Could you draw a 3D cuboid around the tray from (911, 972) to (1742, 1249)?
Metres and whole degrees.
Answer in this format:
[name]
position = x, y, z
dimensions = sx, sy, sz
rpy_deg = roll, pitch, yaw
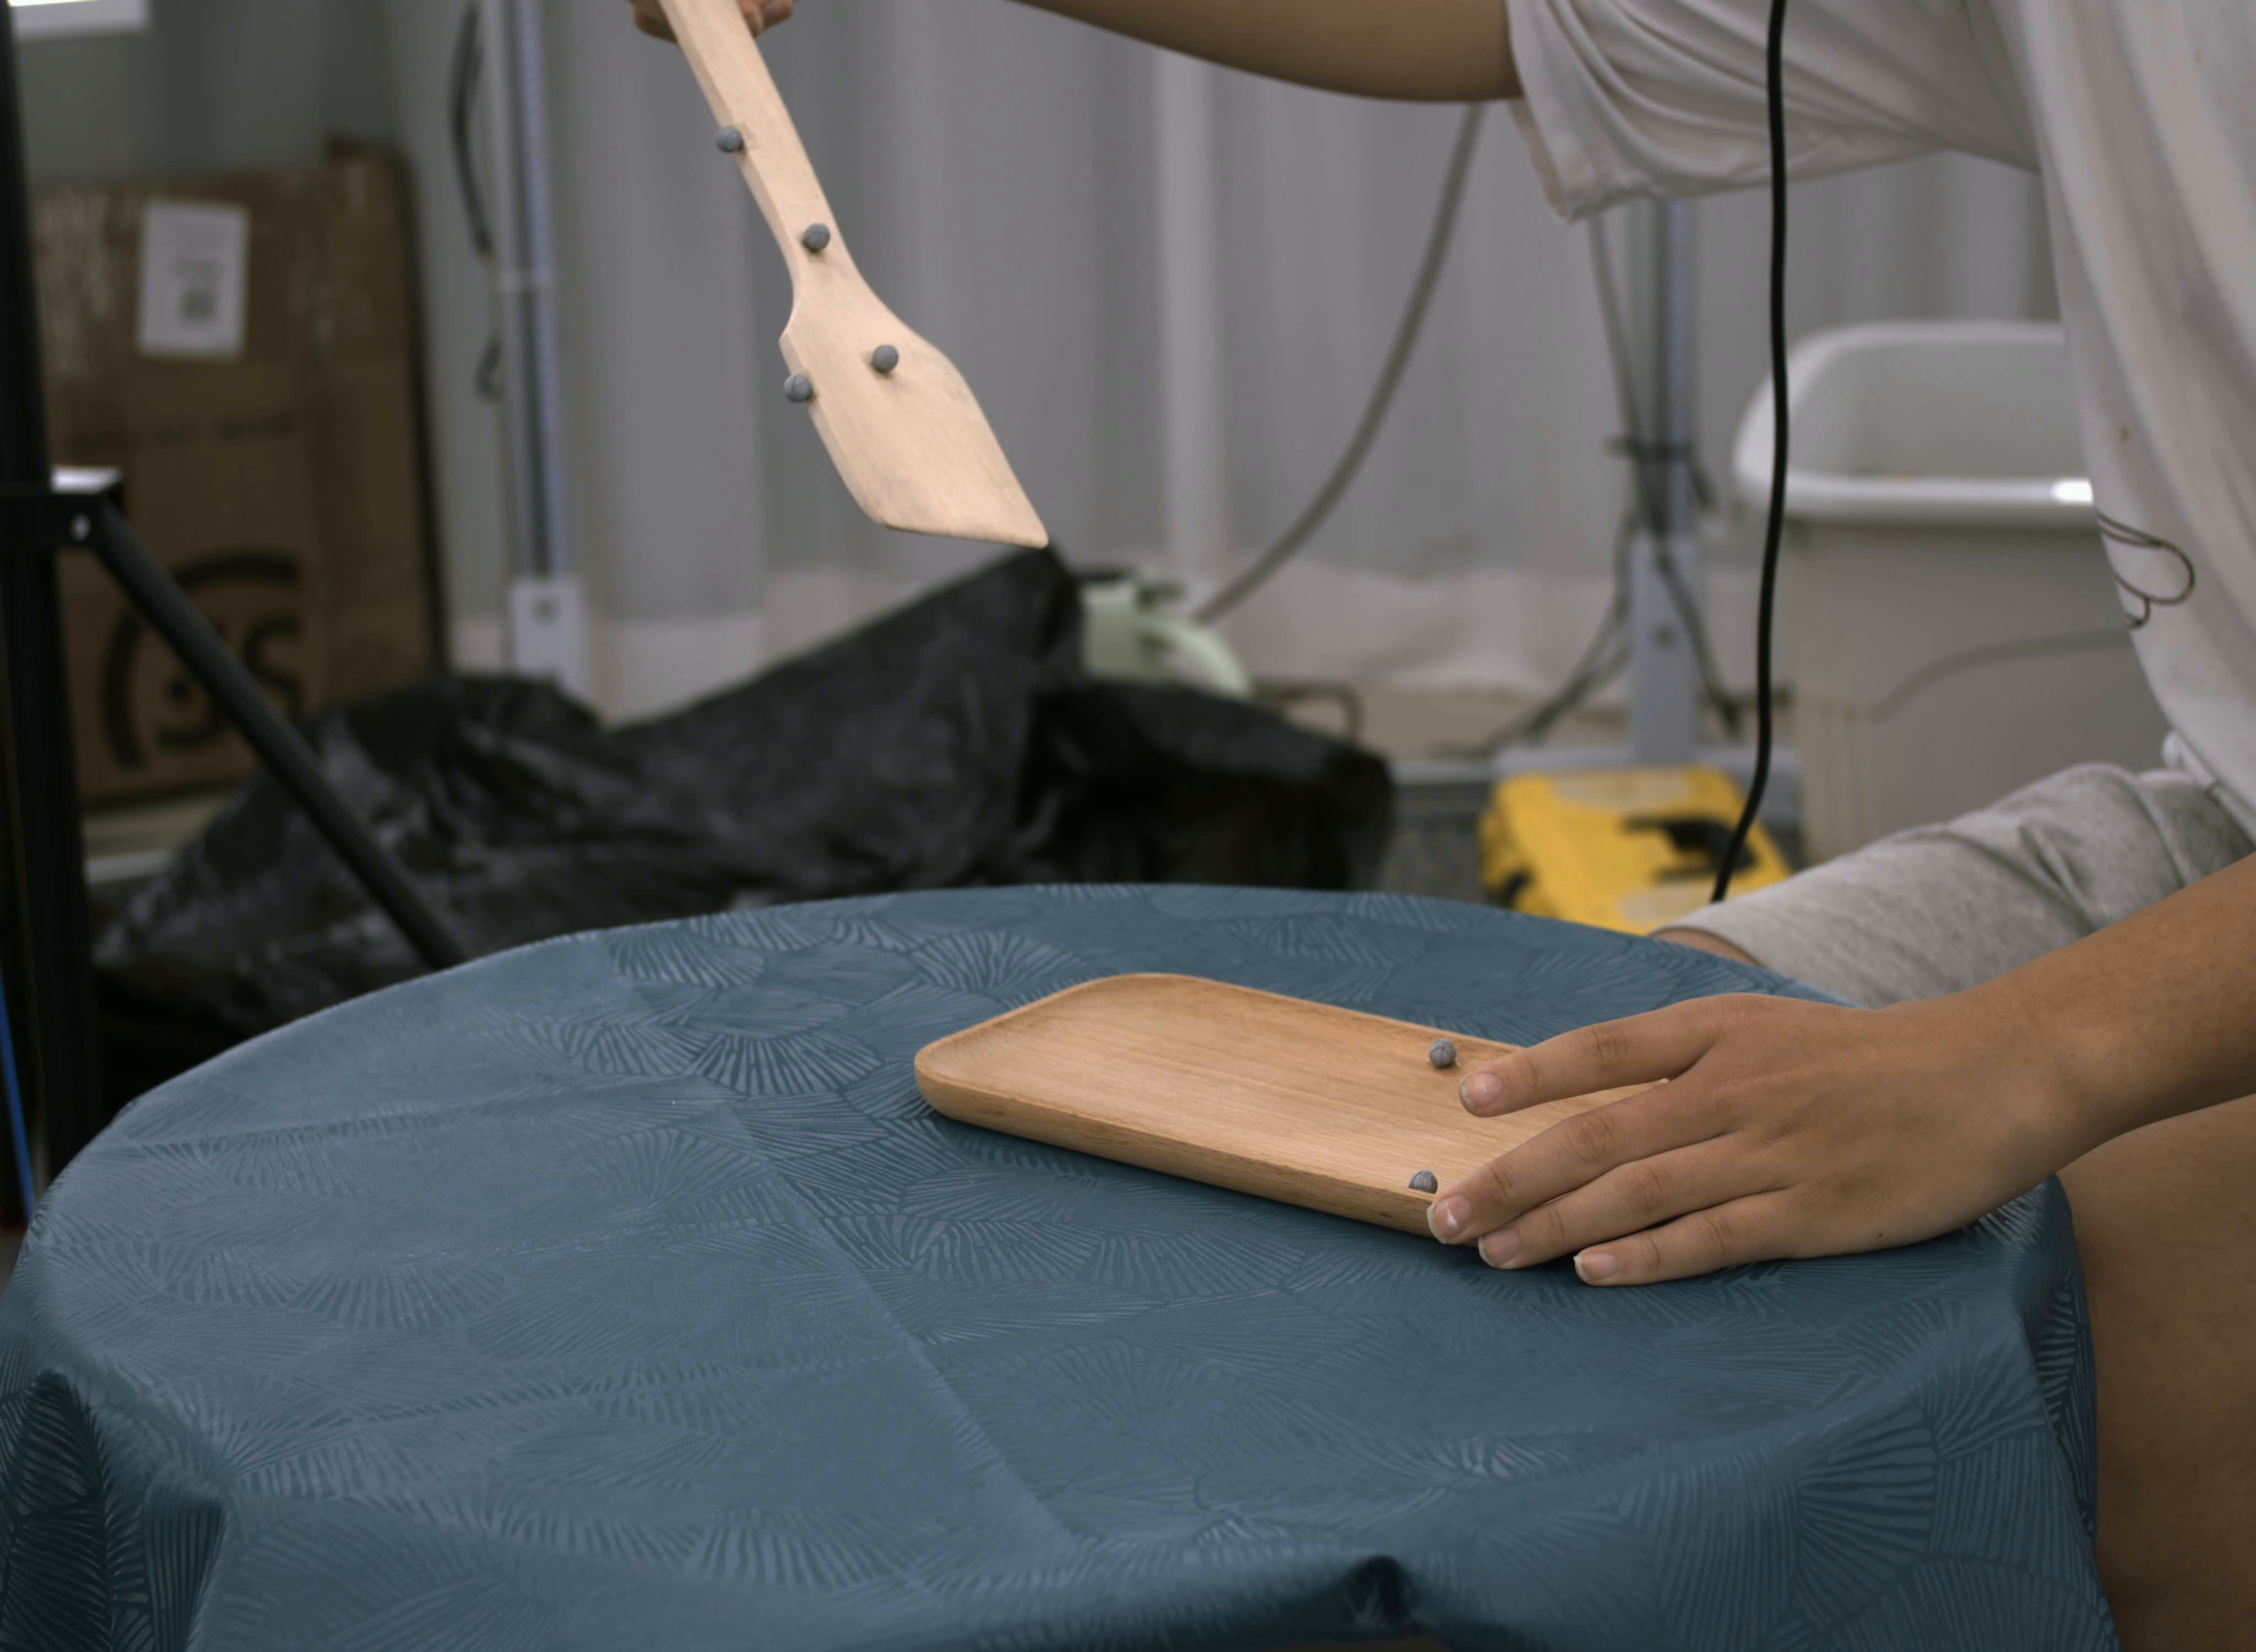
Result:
[tray]
position = 0.058, 0.084, 1.607
dimensions = 0.256, 0.023, 0.127
rpy_deg = 10, 18, 41

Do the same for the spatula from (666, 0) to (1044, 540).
[spatula]
position = -0.108, -0.203, 1.730
dimensions = 0.070, 0.011, 0.298
rpy_deg = 5, 47, -39
